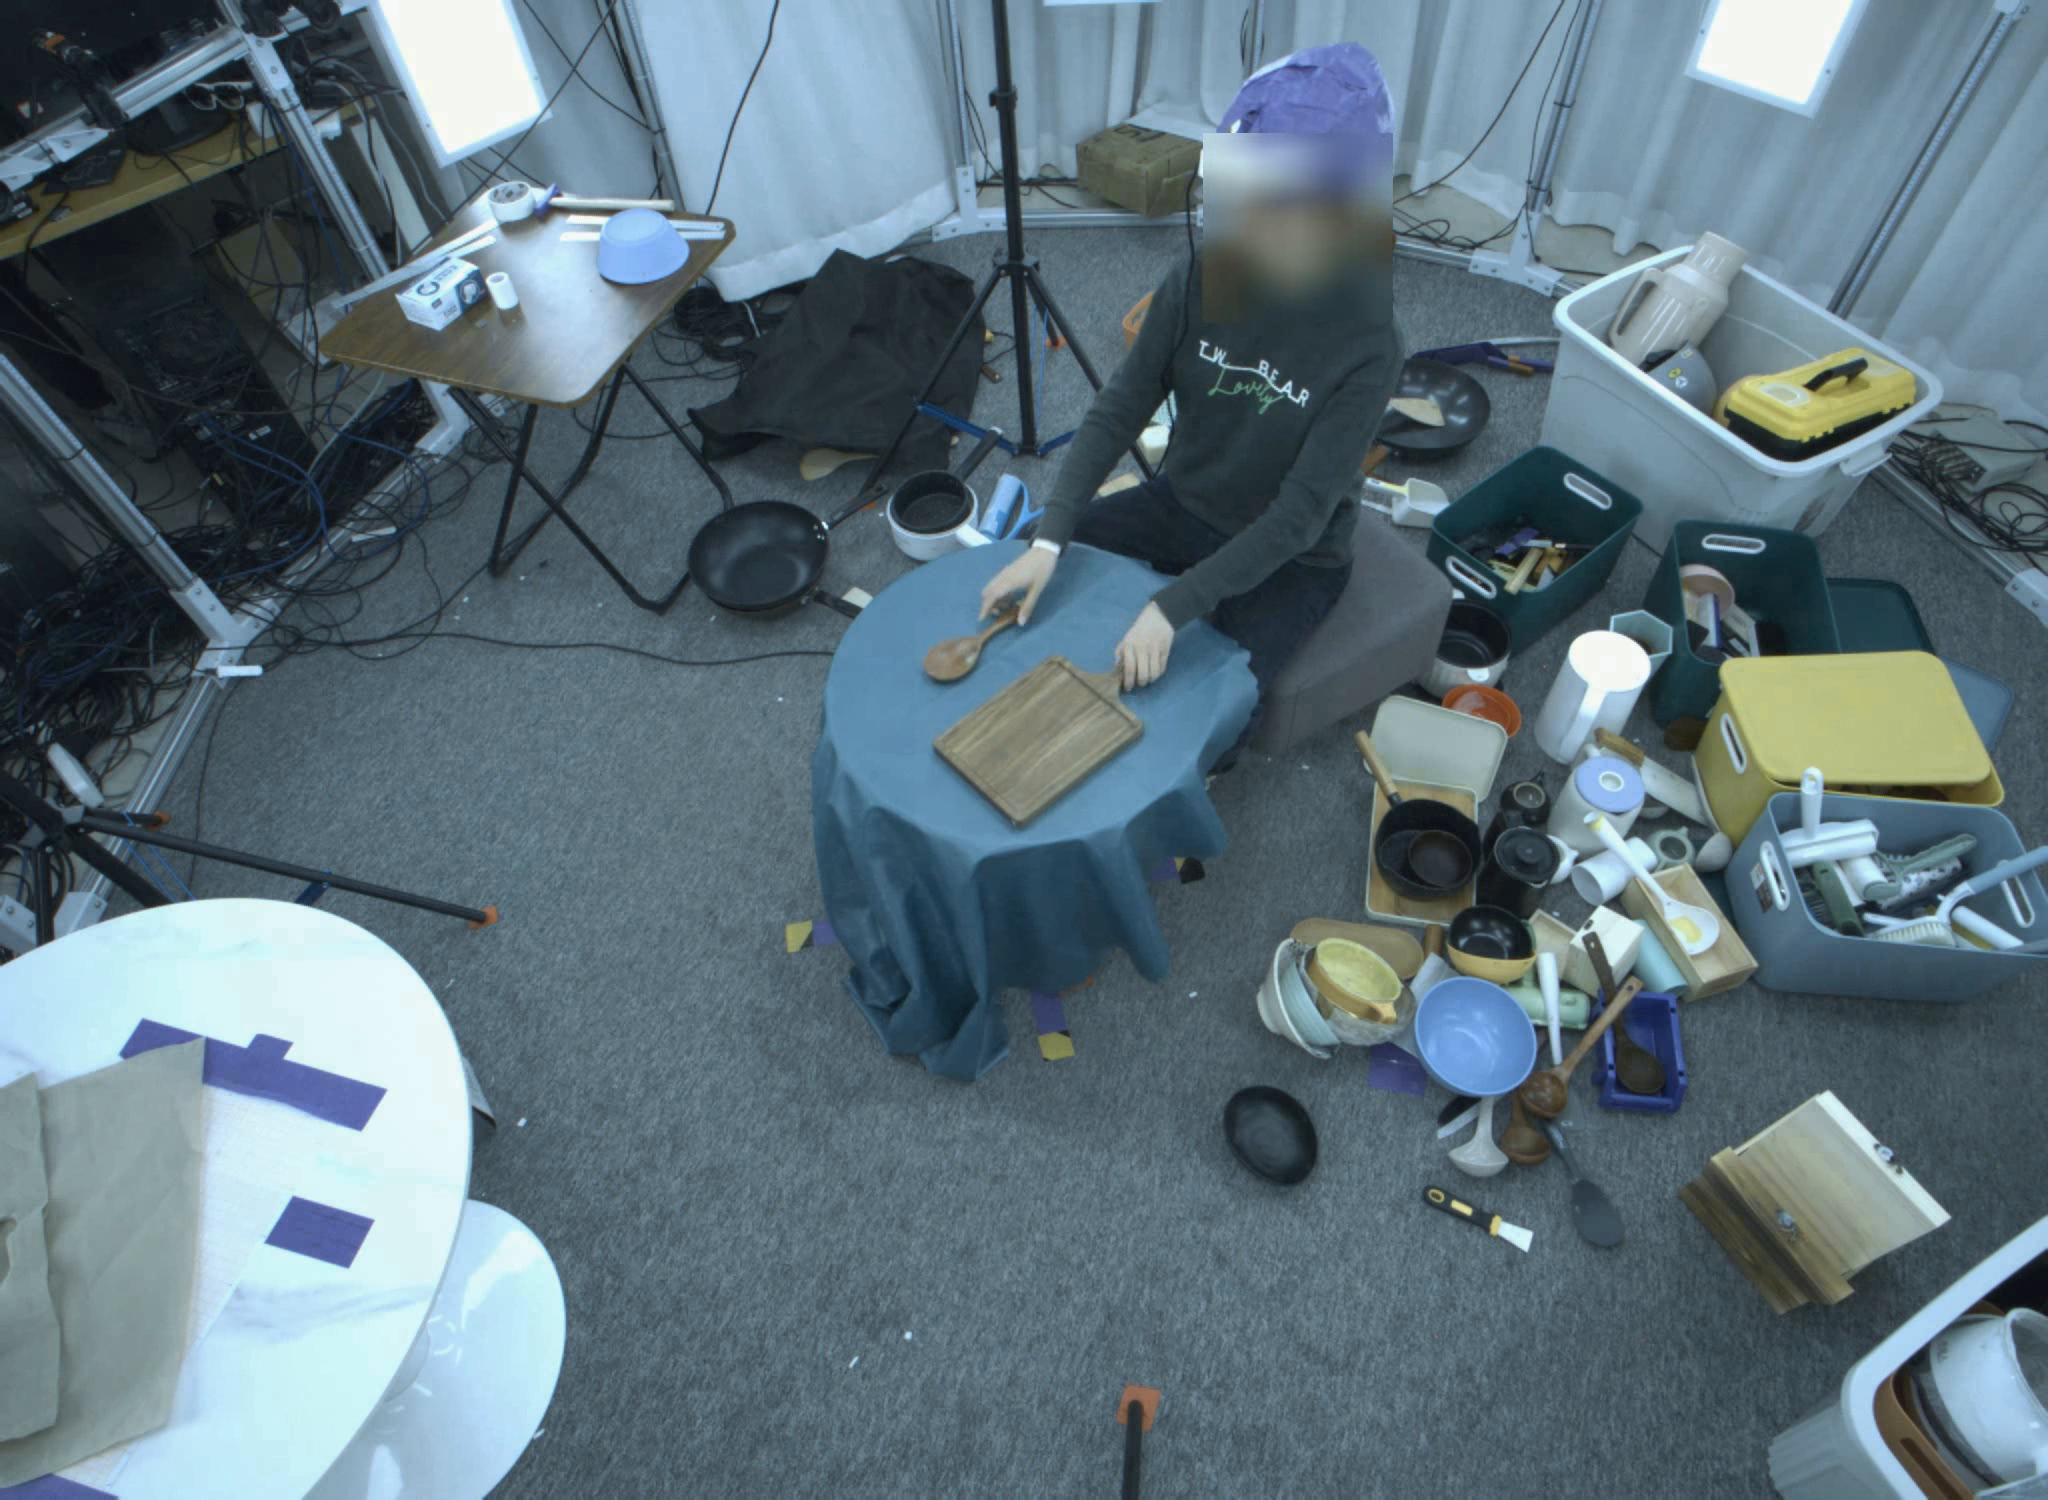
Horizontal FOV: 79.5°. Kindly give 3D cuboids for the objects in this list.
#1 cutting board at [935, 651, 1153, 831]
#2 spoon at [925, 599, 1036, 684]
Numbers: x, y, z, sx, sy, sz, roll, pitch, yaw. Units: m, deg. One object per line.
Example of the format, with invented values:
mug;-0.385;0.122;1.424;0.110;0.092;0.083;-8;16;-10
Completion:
cutting board;0.061;-0.042;1.815;0.355;0.023;0.197;-37;61;-22
spoon;-0.063;-0.170;1.908;0.217;0.017;0.074;-40;61;-22
